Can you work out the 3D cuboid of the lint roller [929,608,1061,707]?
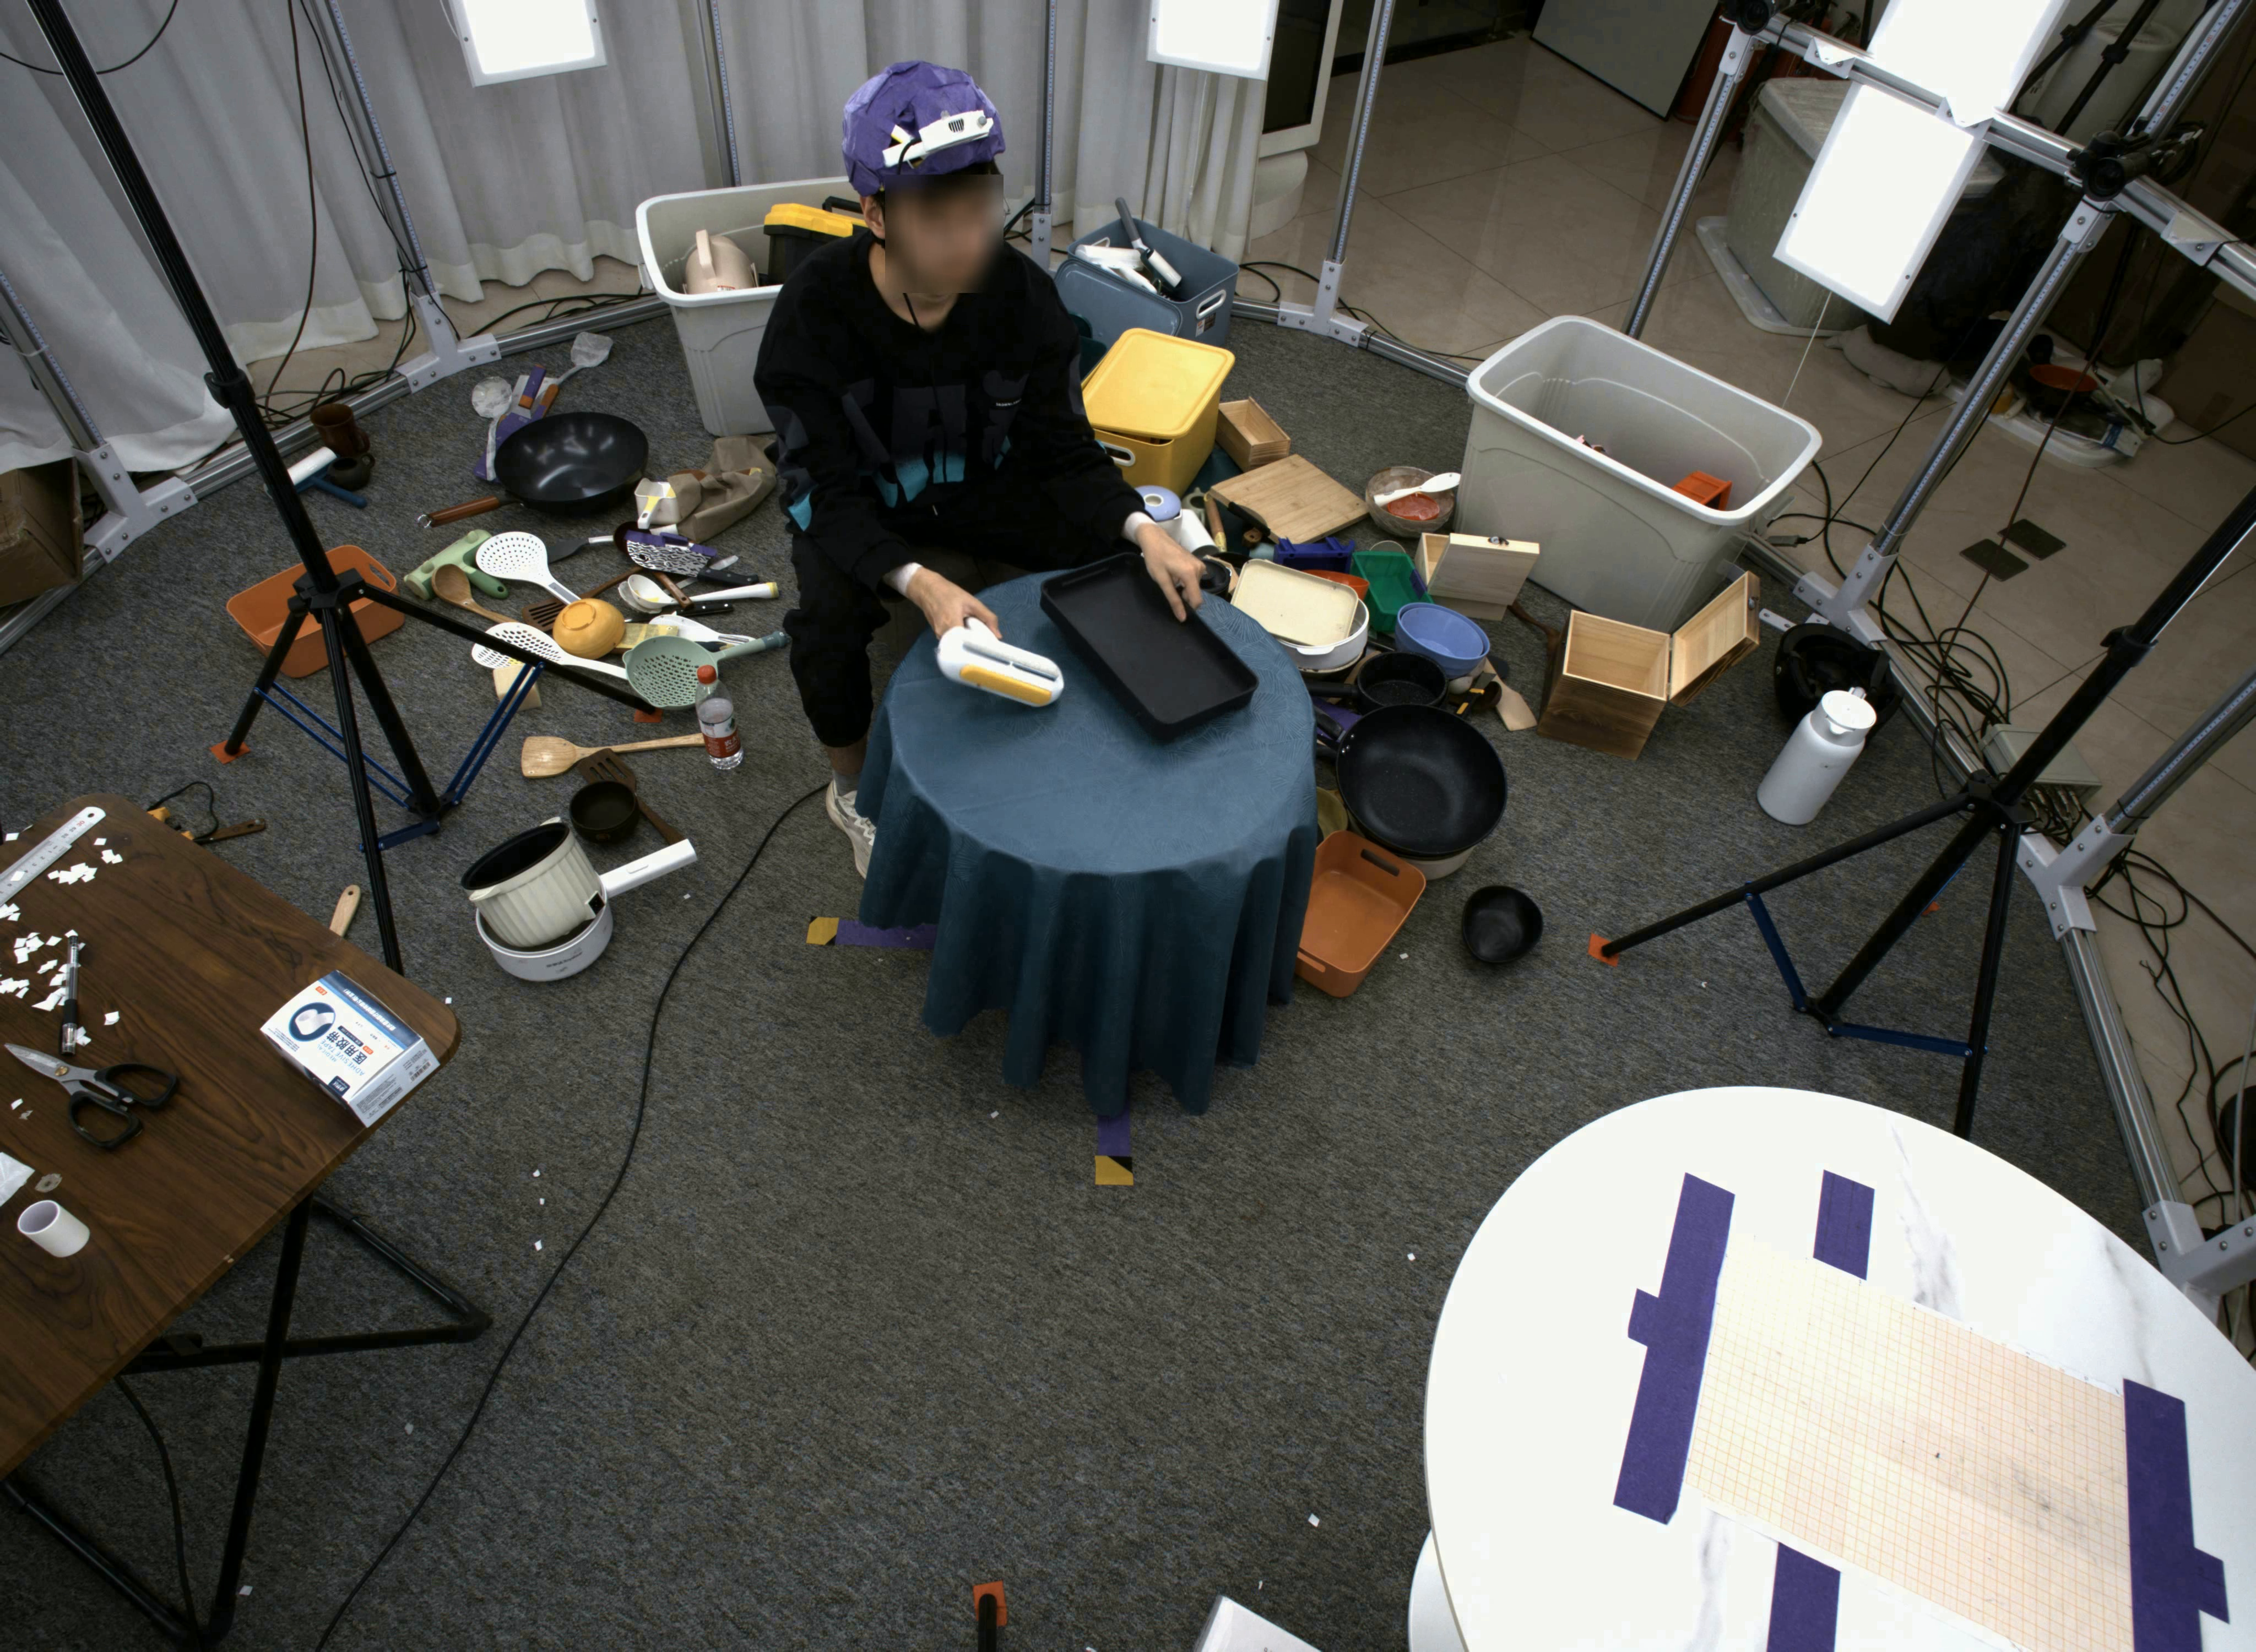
[{"bbox_3d":[-0.197,-0.253,1.797,0.191,0.073,0.197,11,41,-30],"label":"lint roller"}]

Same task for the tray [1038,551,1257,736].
[{"bbox_3d":[0.024,-0.268,1.850,0.185,0.036,0.323,-25,59,-29],"label":"tray"}]
